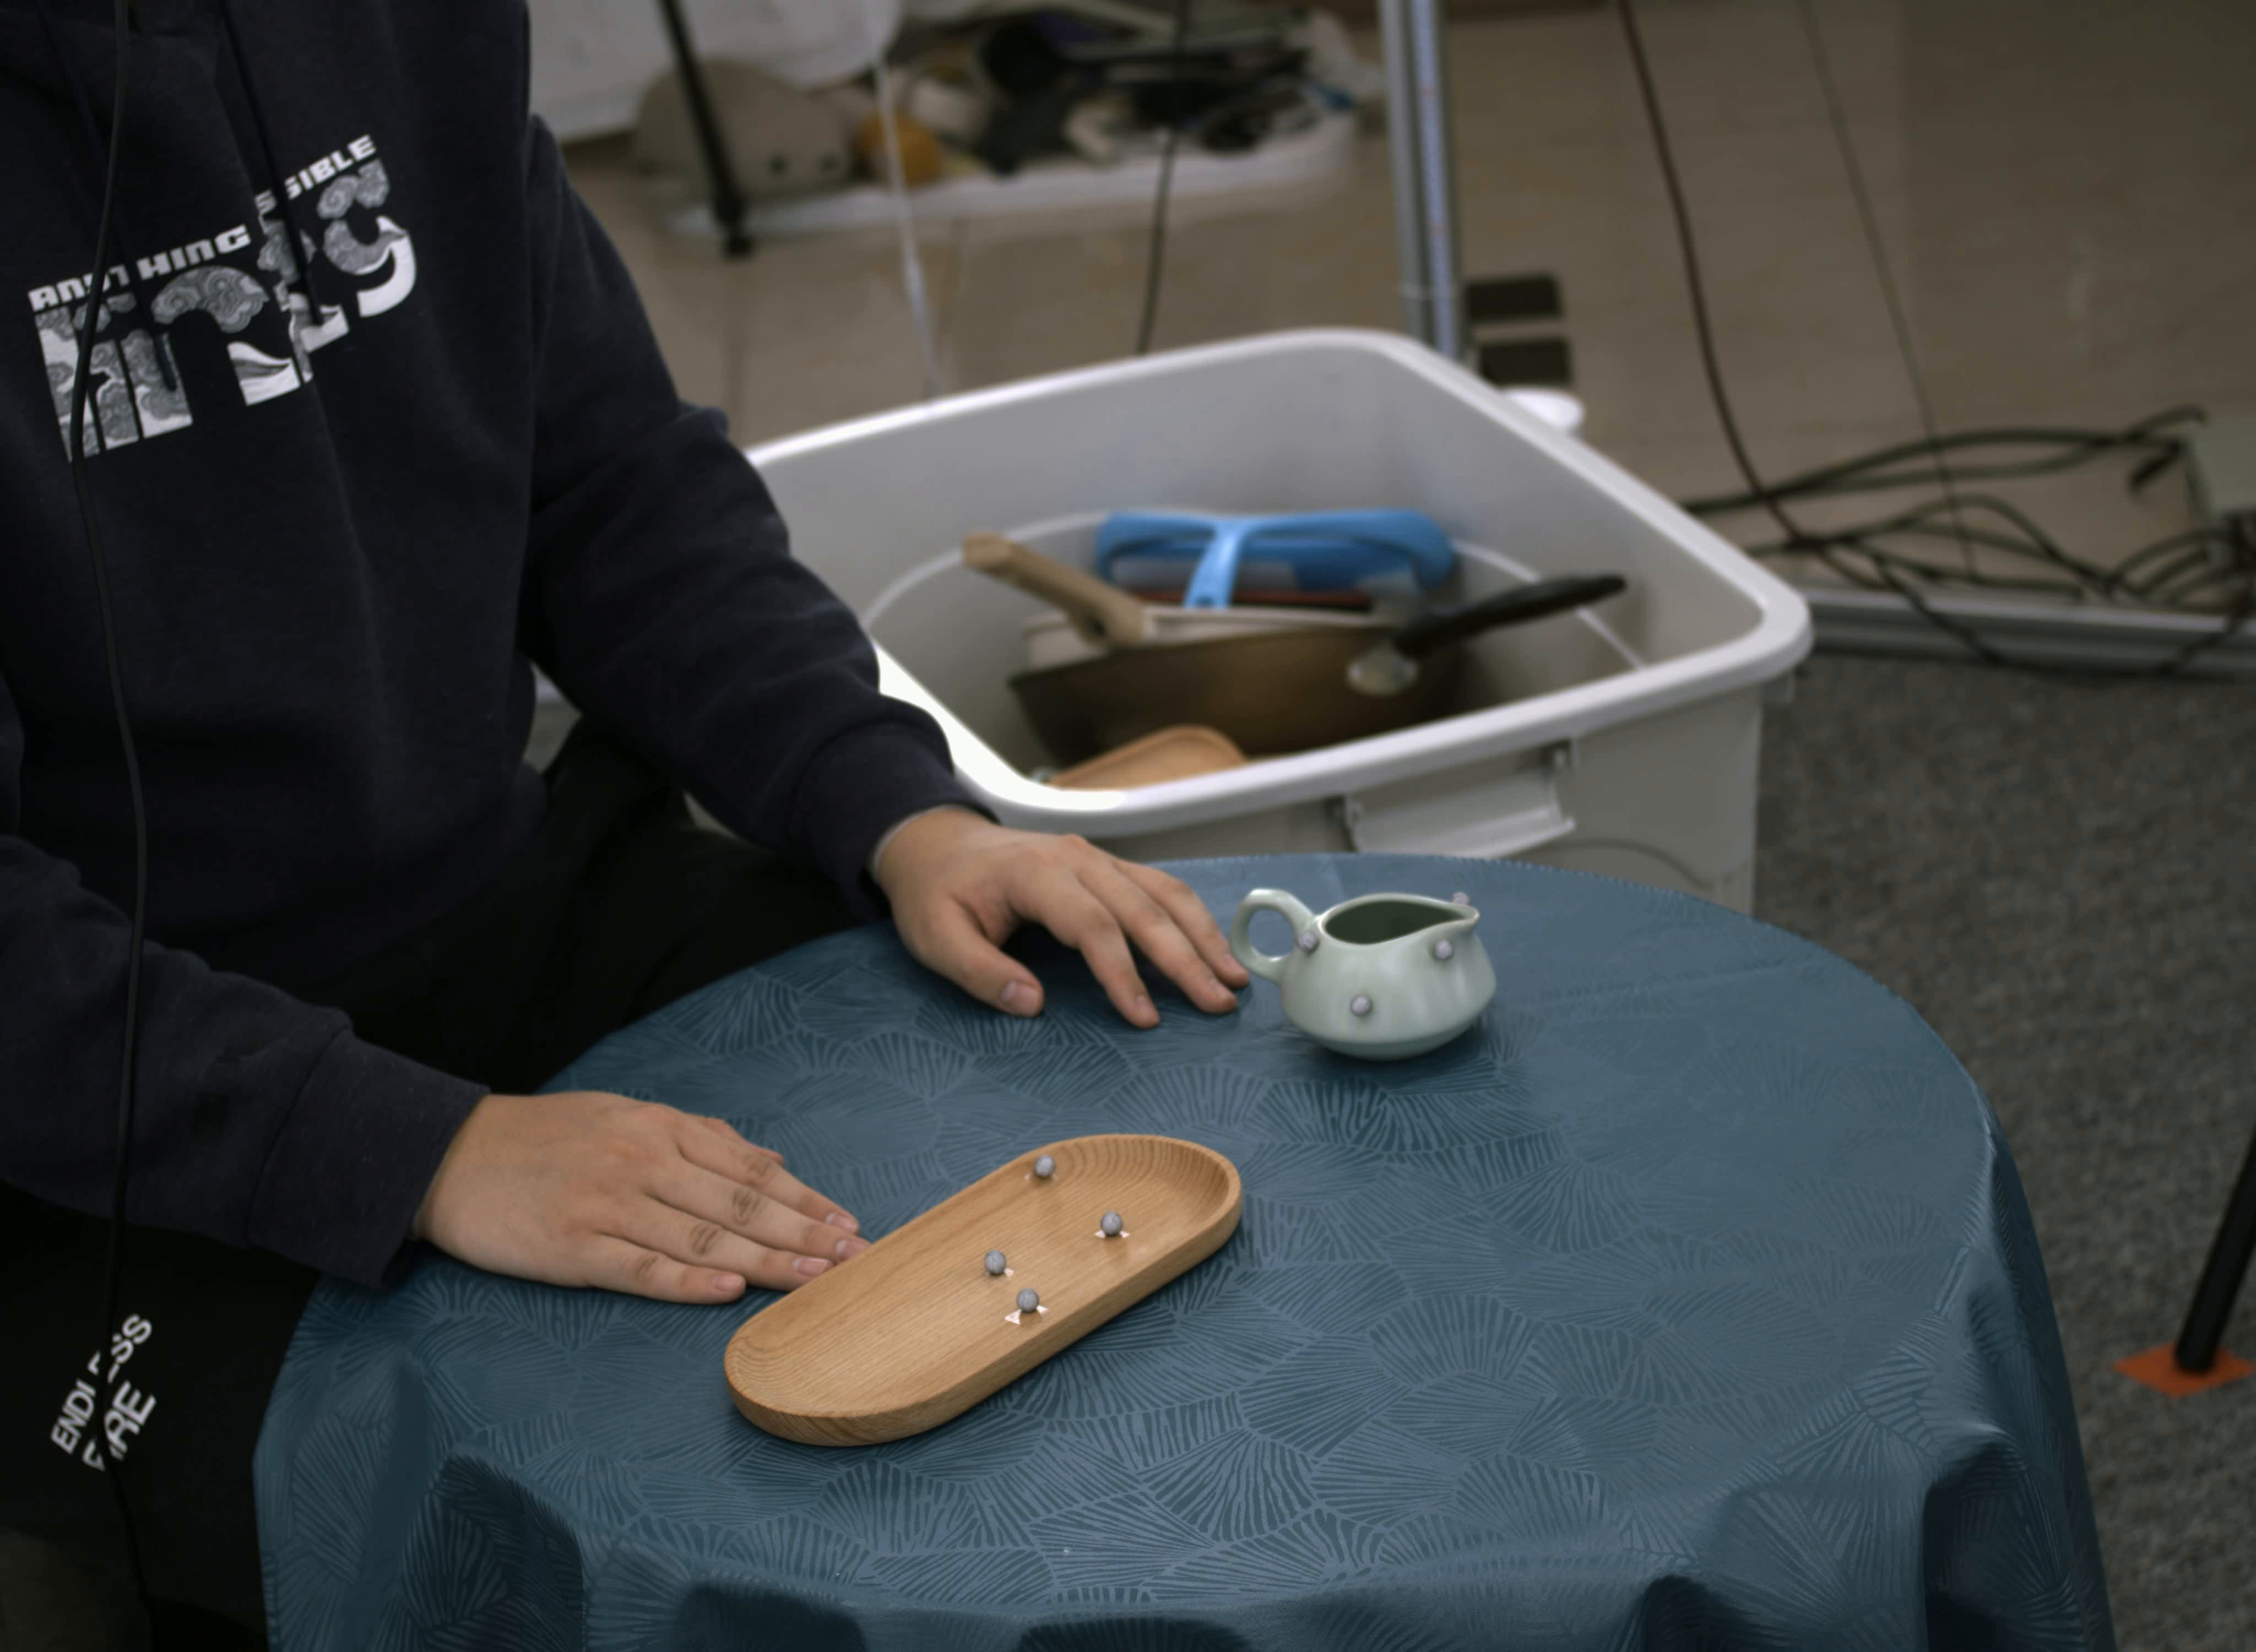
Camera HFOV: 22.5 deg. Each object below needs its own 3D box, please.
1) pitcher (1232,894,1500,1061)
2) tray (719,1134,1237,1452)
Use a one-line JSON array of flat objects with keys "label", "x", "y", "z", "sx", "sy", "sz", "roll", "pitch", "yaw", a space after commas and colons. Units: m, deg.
[{"label": "pitcher", "x": 0.092, "y": 0.057, "z": 2.238, "sx": 0.108, "sy": 0.061, "sz": 0.085, "roll": 2, "pitch": 25, "yaw": 22}, {"label": "tray", "x": -0.052, "y": 0.169, "z": 2.076, "sx": 0.101, "sy": 0.020, "sz": 0.229, "roll": 14, "pitch": 34, "yaw": 40}]
